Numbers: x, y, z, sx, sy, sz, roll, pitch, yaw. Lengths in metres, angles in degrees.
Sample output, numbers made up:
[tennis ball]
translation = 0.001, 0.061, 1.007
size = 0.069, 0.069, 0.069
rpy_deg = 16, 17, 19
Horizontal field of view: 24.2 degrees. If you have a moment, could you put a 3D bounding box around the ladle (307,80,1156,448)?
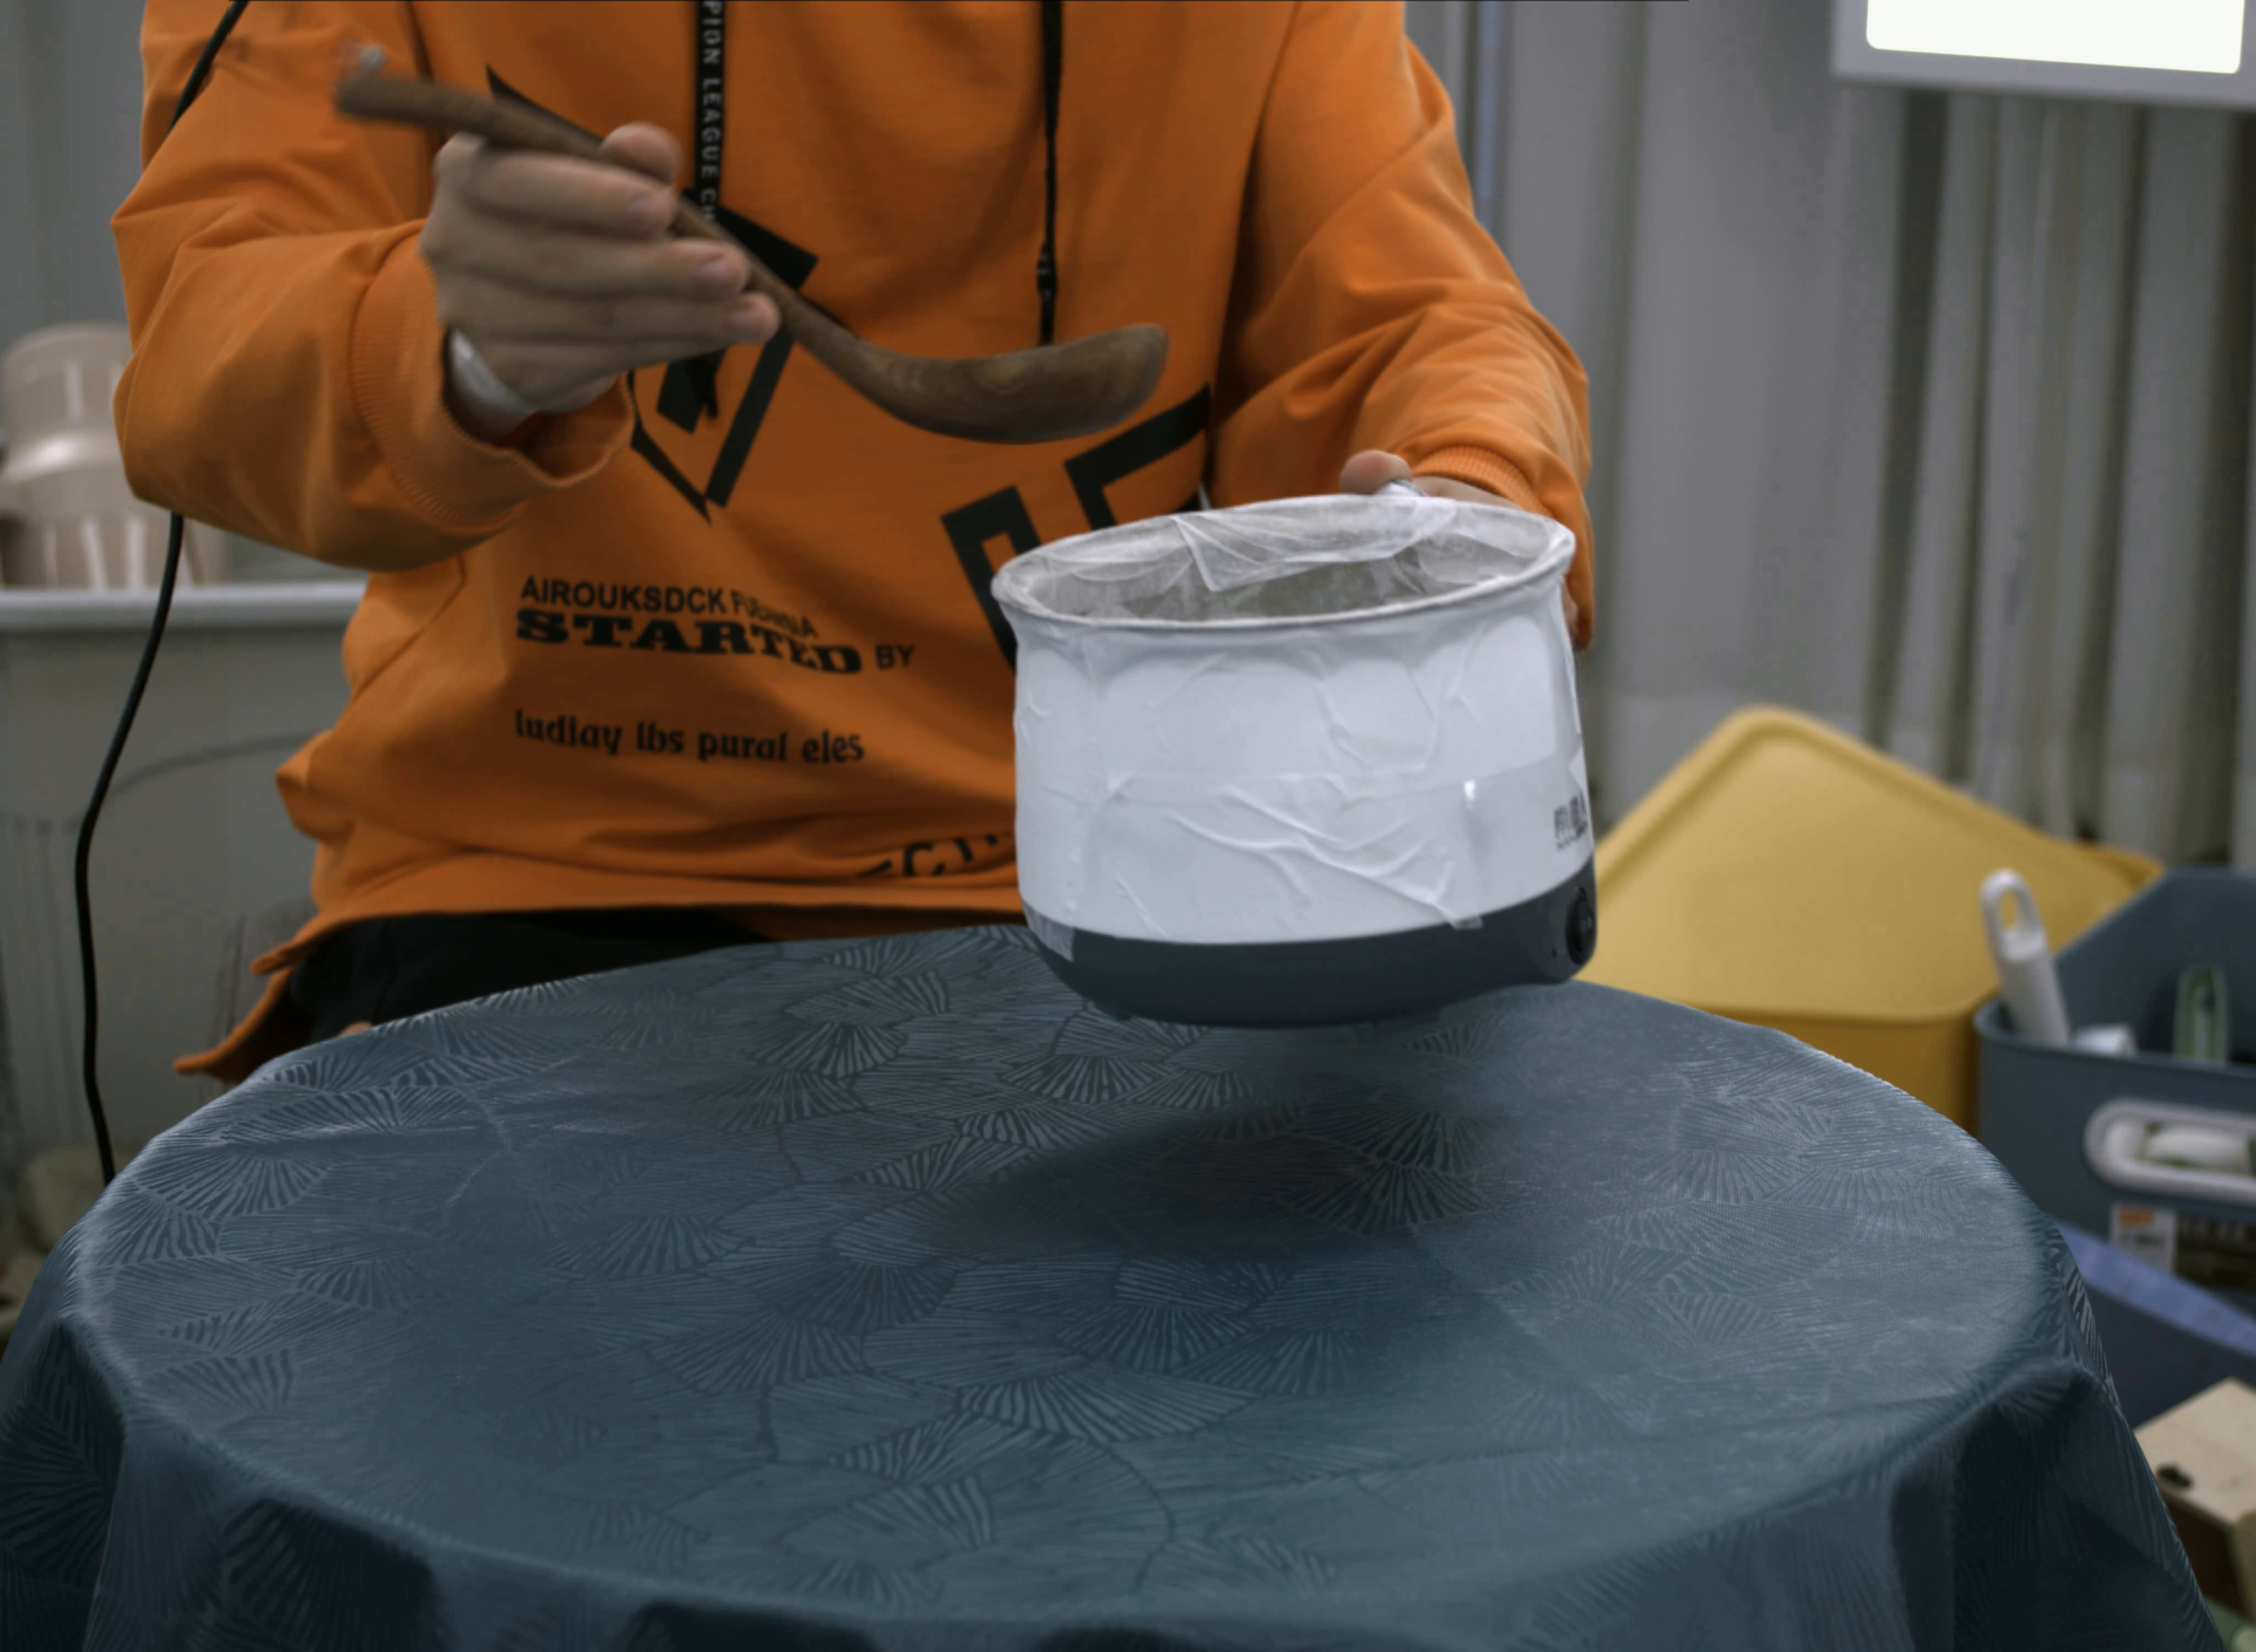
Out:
[ladle]
translation = -0.115, -0.179, 1.565
size = 0.260, 0.065, 0.076
rpy_deg = 27, -9, -8

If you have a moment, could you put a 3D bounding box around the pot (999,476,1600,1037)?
[pot]
translation = 0.063, -0.026, 1.628
size = 0.177, 0.138, 0.234
rpy_deg = 2, 16, 21
